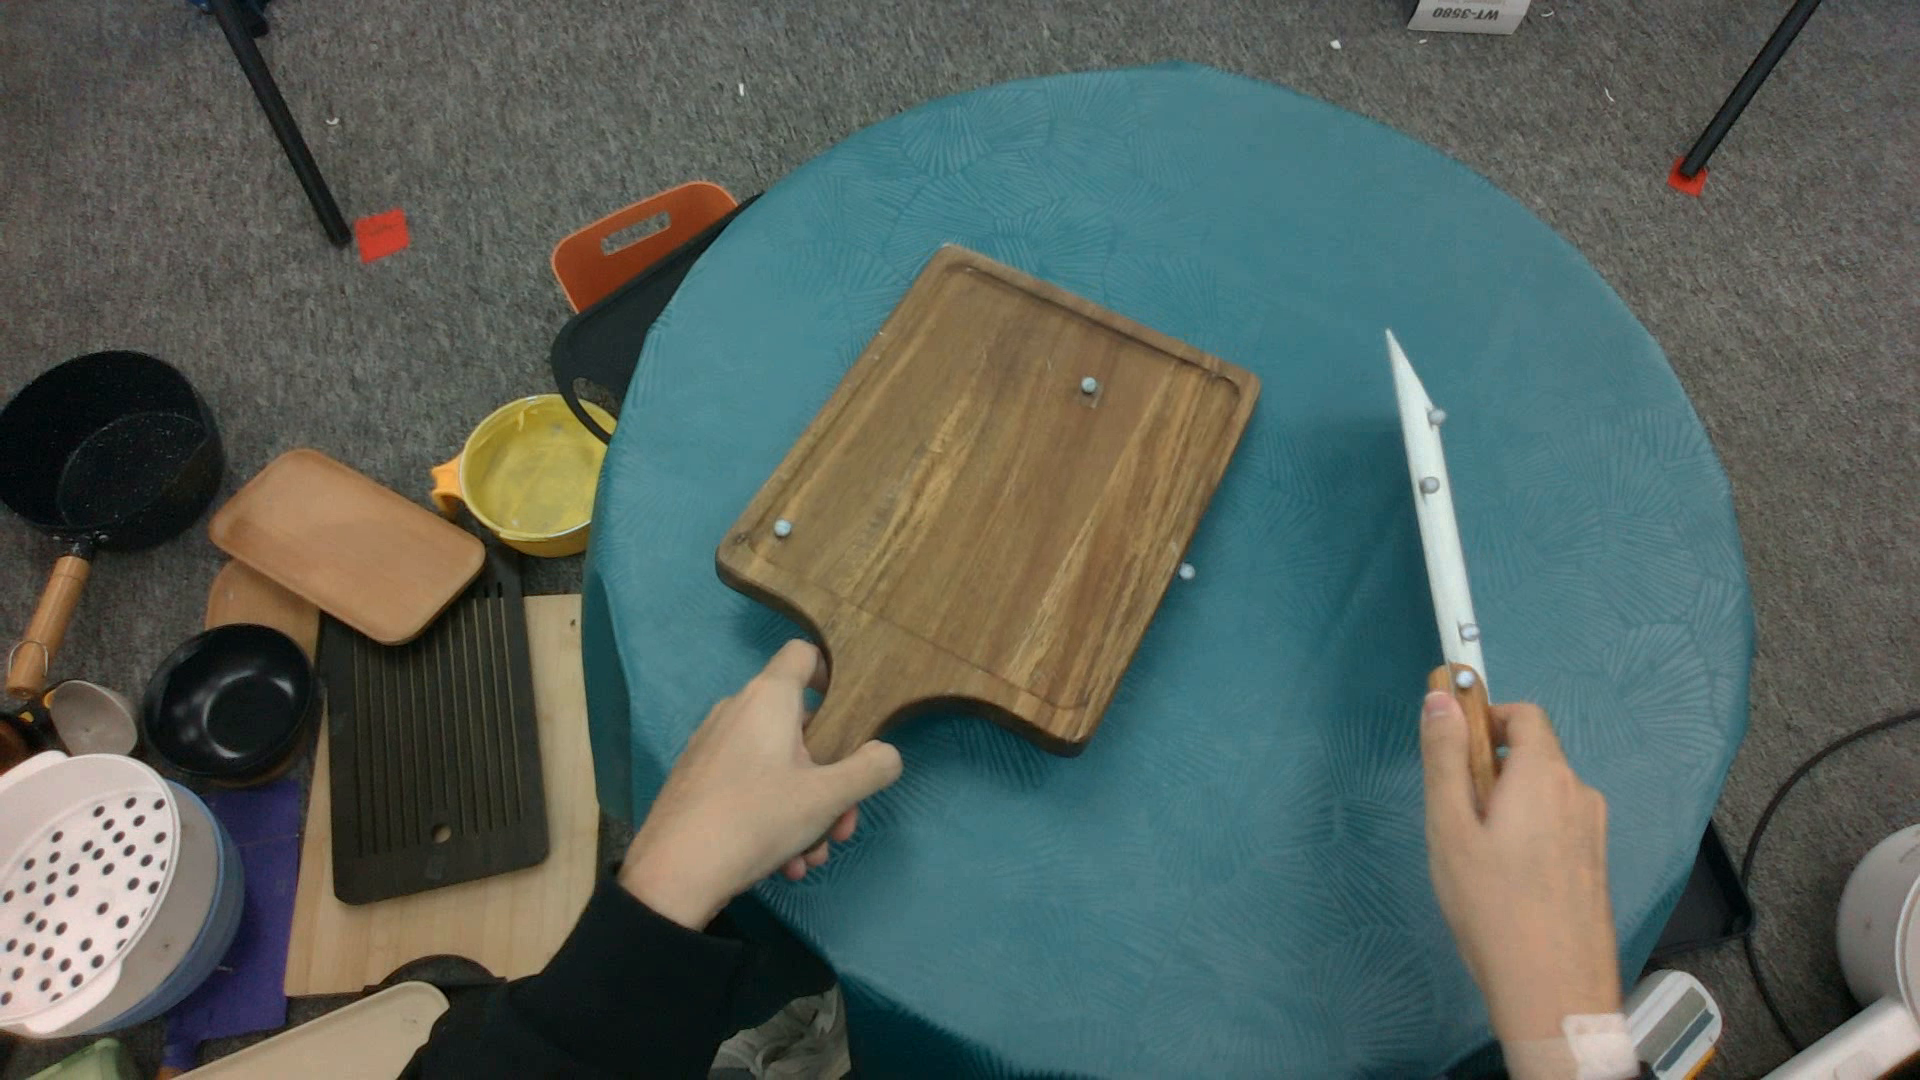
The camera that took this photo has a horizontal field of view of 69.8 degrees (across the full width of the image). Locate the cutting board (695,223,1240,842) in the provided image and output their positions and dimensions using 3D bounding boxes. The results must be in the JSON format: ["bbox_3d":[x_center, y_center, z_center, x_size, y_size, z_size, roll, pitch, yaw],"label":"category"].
[{"bbox_3d":[-0.007,-0.009,0.668,0.201,0.023,0.354,25,57,8],"label":"cutting board"}]

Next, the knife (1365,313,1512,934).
[{"bbox_3d":[0.224,0.034,0.649,0.021,0.093,0.307,-15,58,26],"label":"knife"}]
